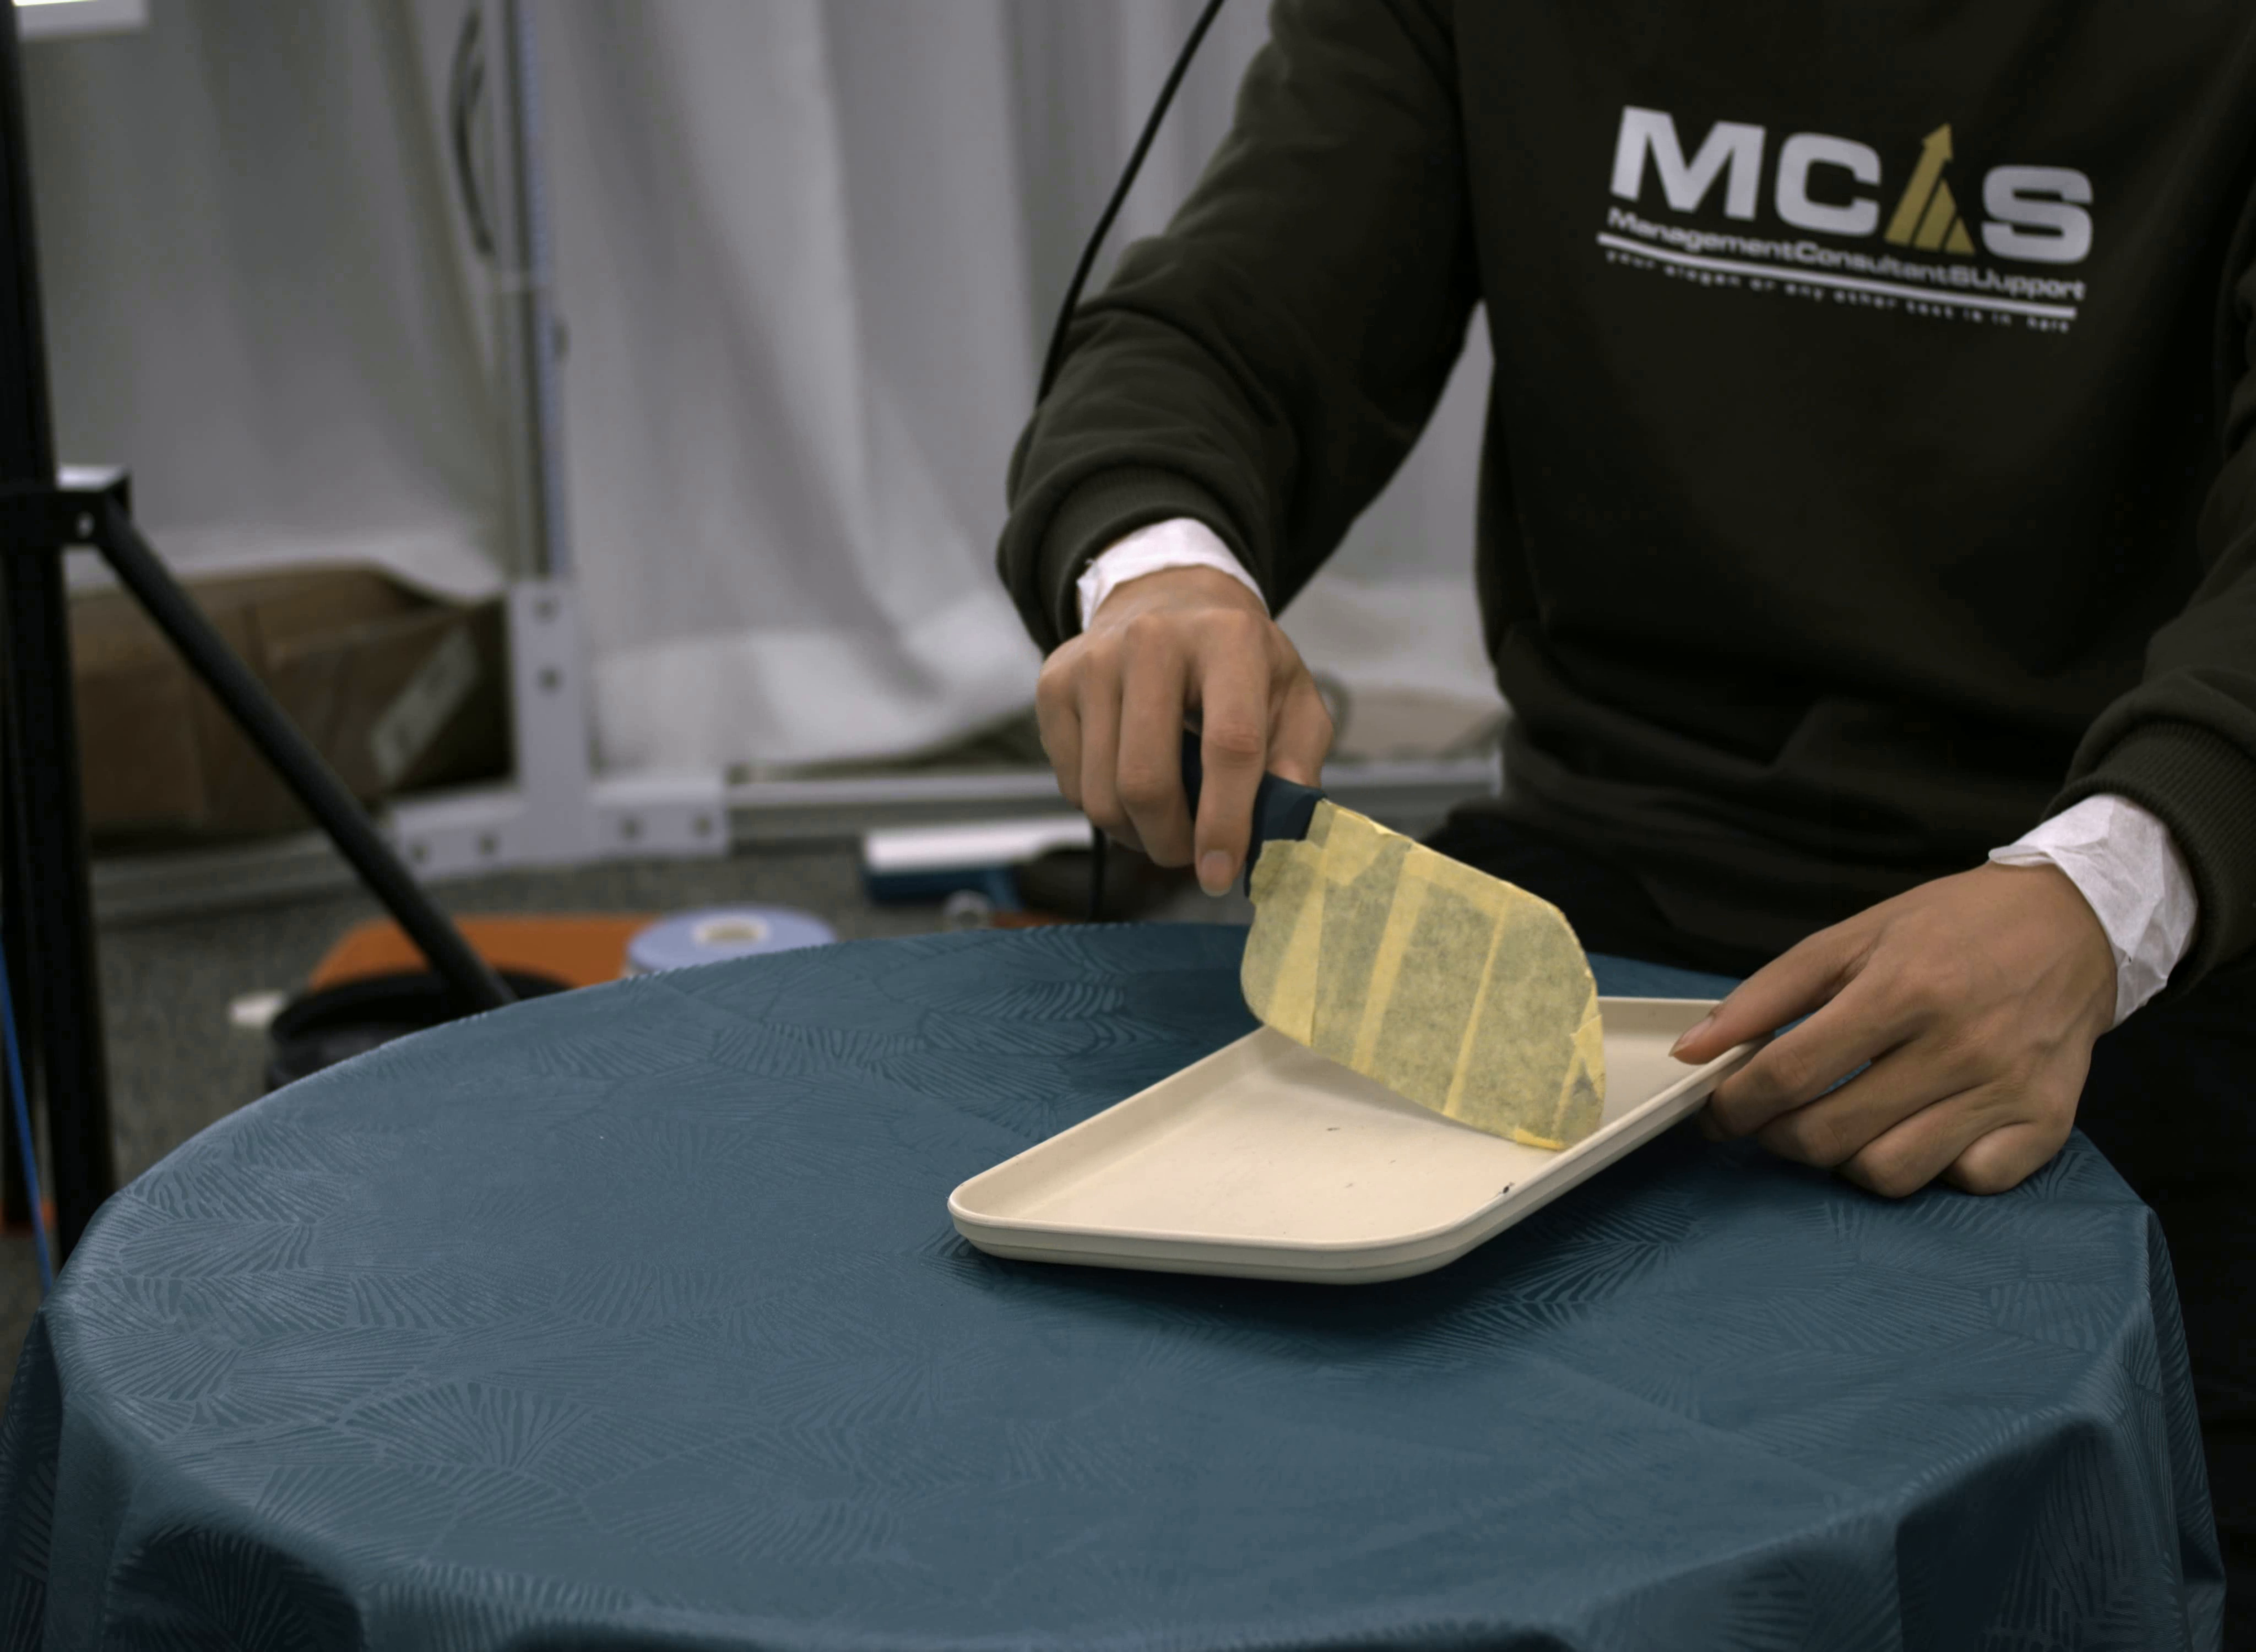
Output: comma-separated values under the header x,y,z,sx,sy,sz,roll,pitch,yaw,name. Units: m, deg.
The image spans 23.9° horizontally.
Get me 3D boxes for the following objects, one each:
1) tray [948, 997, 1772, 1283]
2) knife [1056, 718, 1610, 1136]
x,y,z,sx,sy,sz,roll,pitch,yaw,name
0.072,0.090,1.554,0.174,0.017,0.235,0,15,36,tray
0.059,0.027,1.631,0.026,0.081,0.296,12,11,-37,knife
